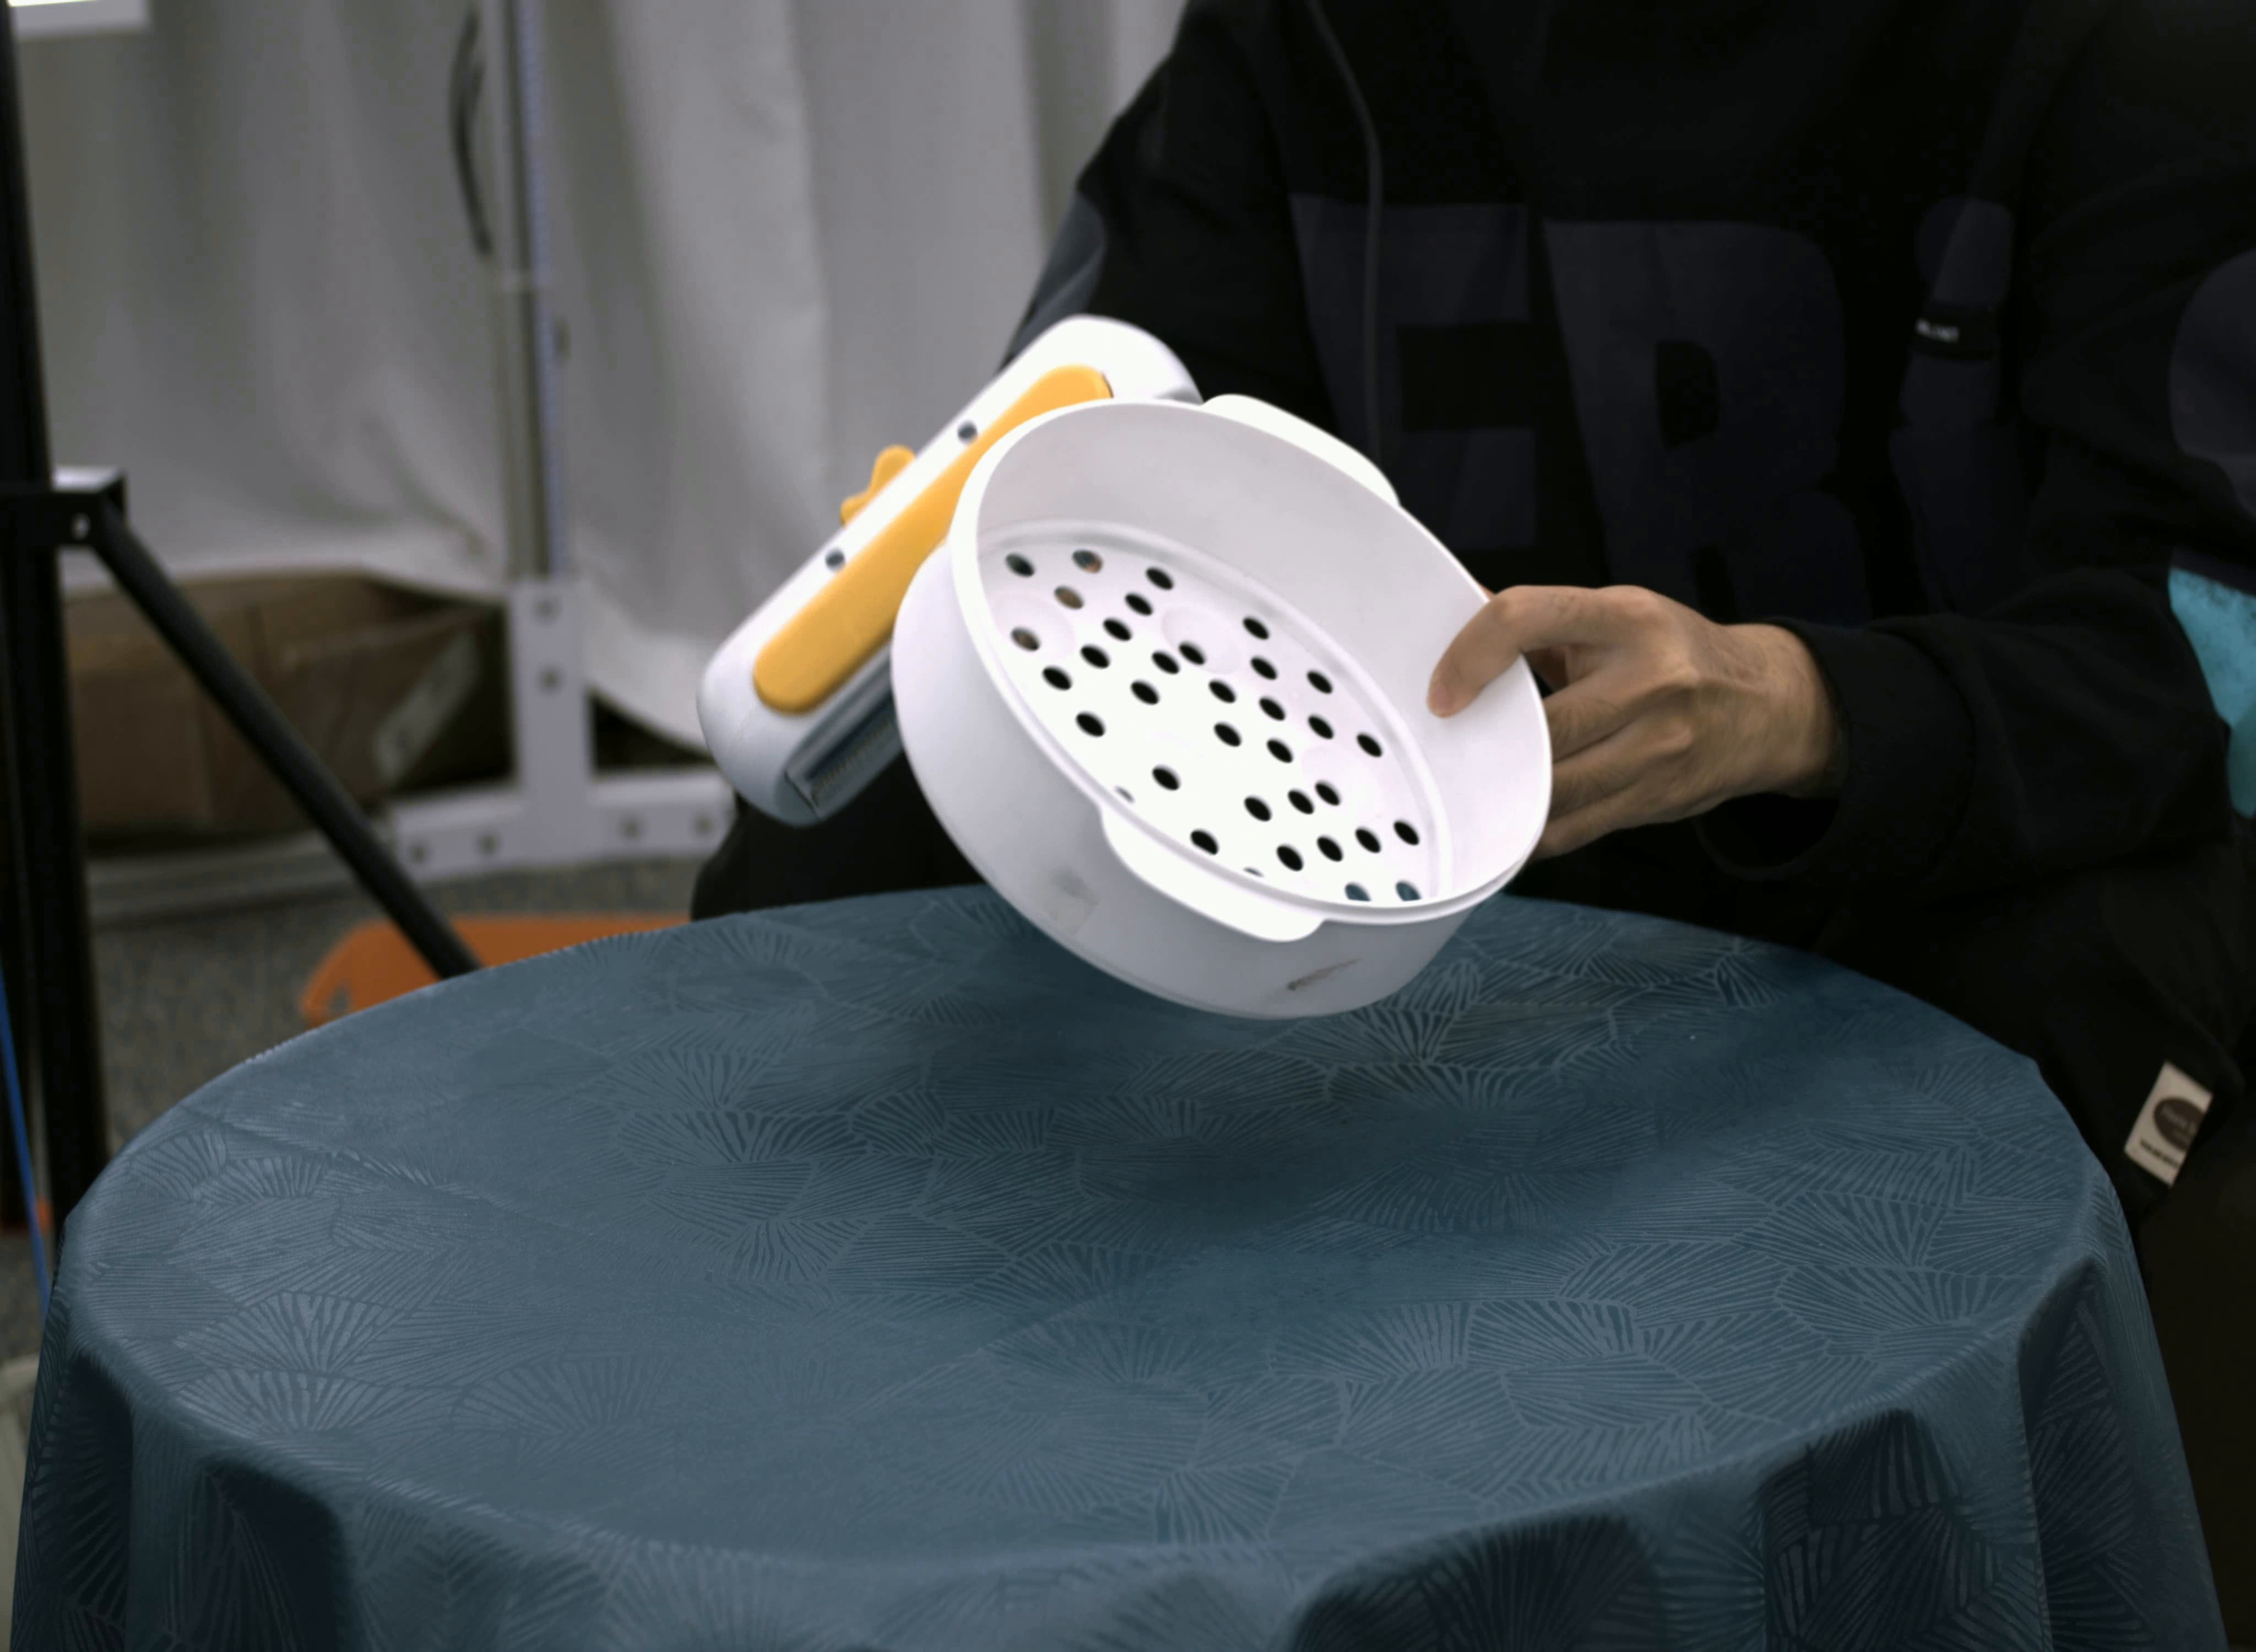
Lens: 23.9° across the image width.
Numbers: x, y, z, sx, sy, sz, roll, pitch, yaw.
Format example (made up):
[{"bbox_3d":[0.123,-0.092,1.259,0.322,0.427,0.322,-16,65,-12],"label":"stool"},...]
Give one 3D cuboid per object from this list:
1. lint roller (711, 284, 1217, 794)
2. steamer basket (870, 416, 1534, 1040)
[{"bbox_3d":[-0.053,-0.079,1.733,0.075,0.192,0.191,40,-9,14],"label":"lint roller"},{"bbox_3d":[0.021,-0.027,1.584,0.199,0.070,0.231,27,38,-11],"label":"steamer basket"}]
